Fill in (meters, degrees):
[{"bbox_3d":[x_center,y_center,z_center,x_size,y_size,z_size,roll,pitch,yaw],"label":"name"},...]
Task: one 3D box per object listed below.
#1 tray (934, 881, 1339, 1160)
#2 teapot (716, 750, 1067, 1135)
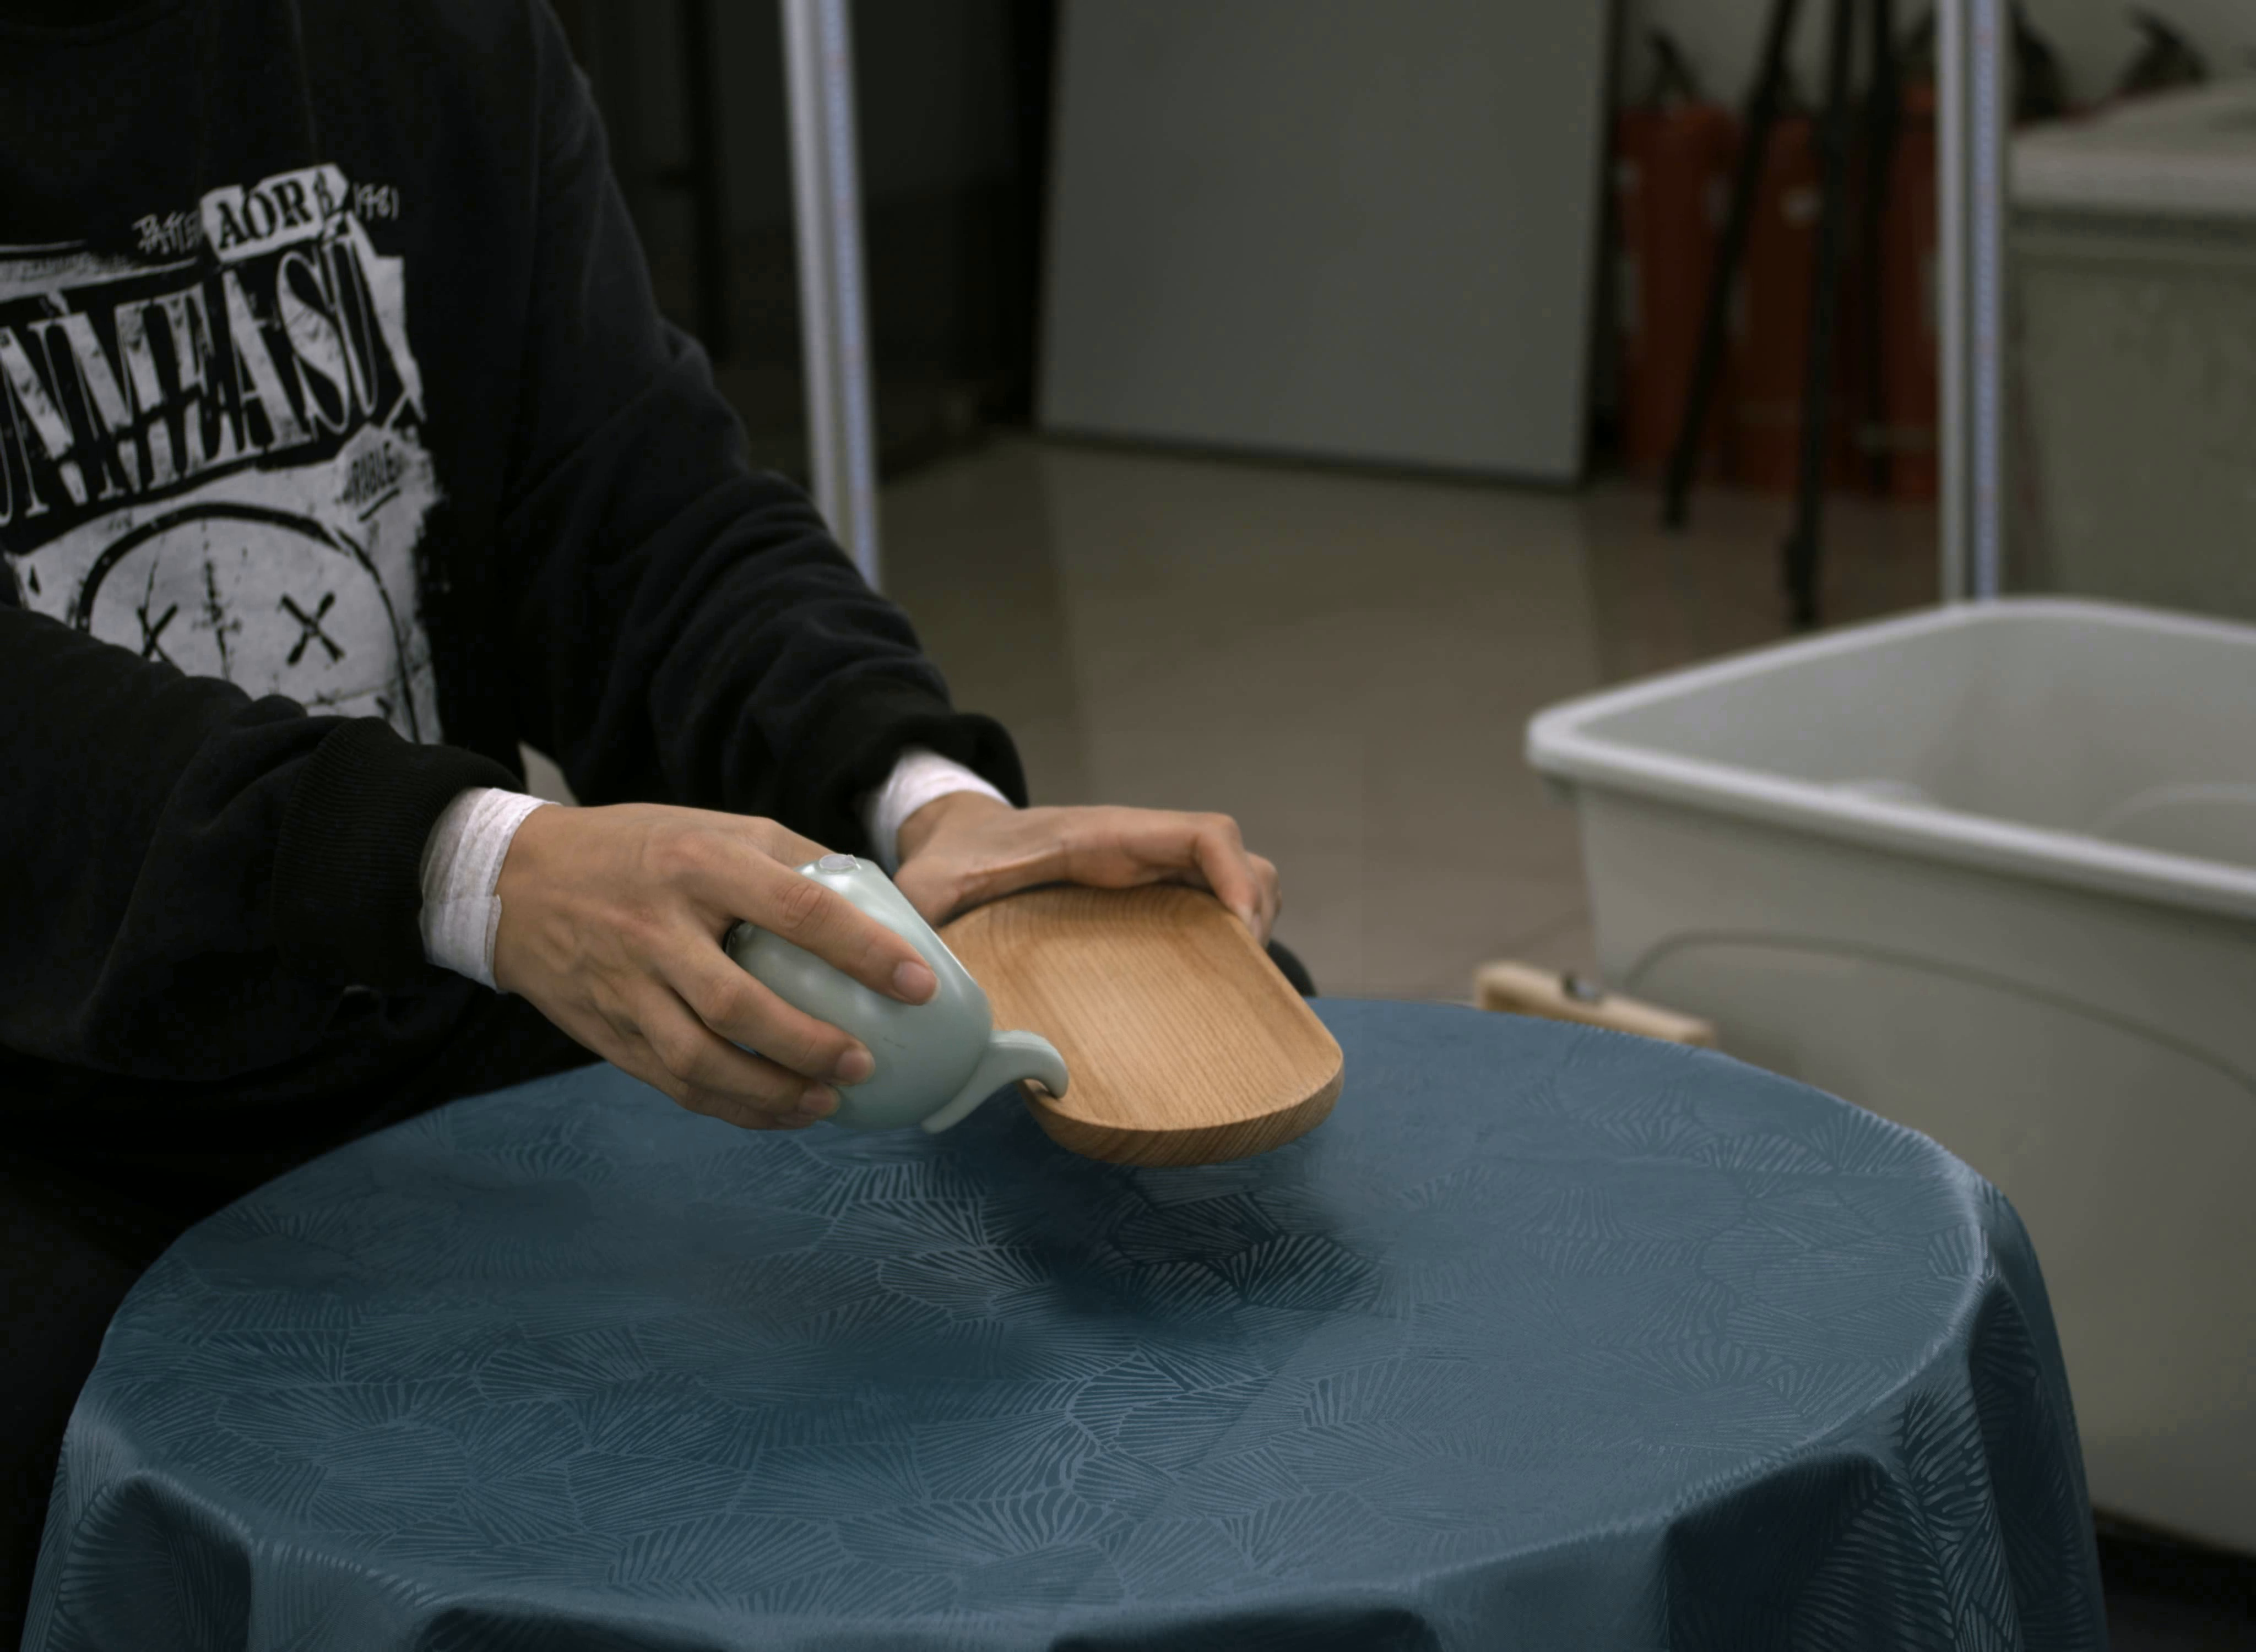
[{"bbox_3d":[0.001,0.061,1.758,0.100,0.020,0.233,-8,18,-12],"label":"tray"},{"bbox_3d":[-0.083,0.050,1.659,0.074,0.143,0.089,-38,20,-4],"label":"teapot"}]
